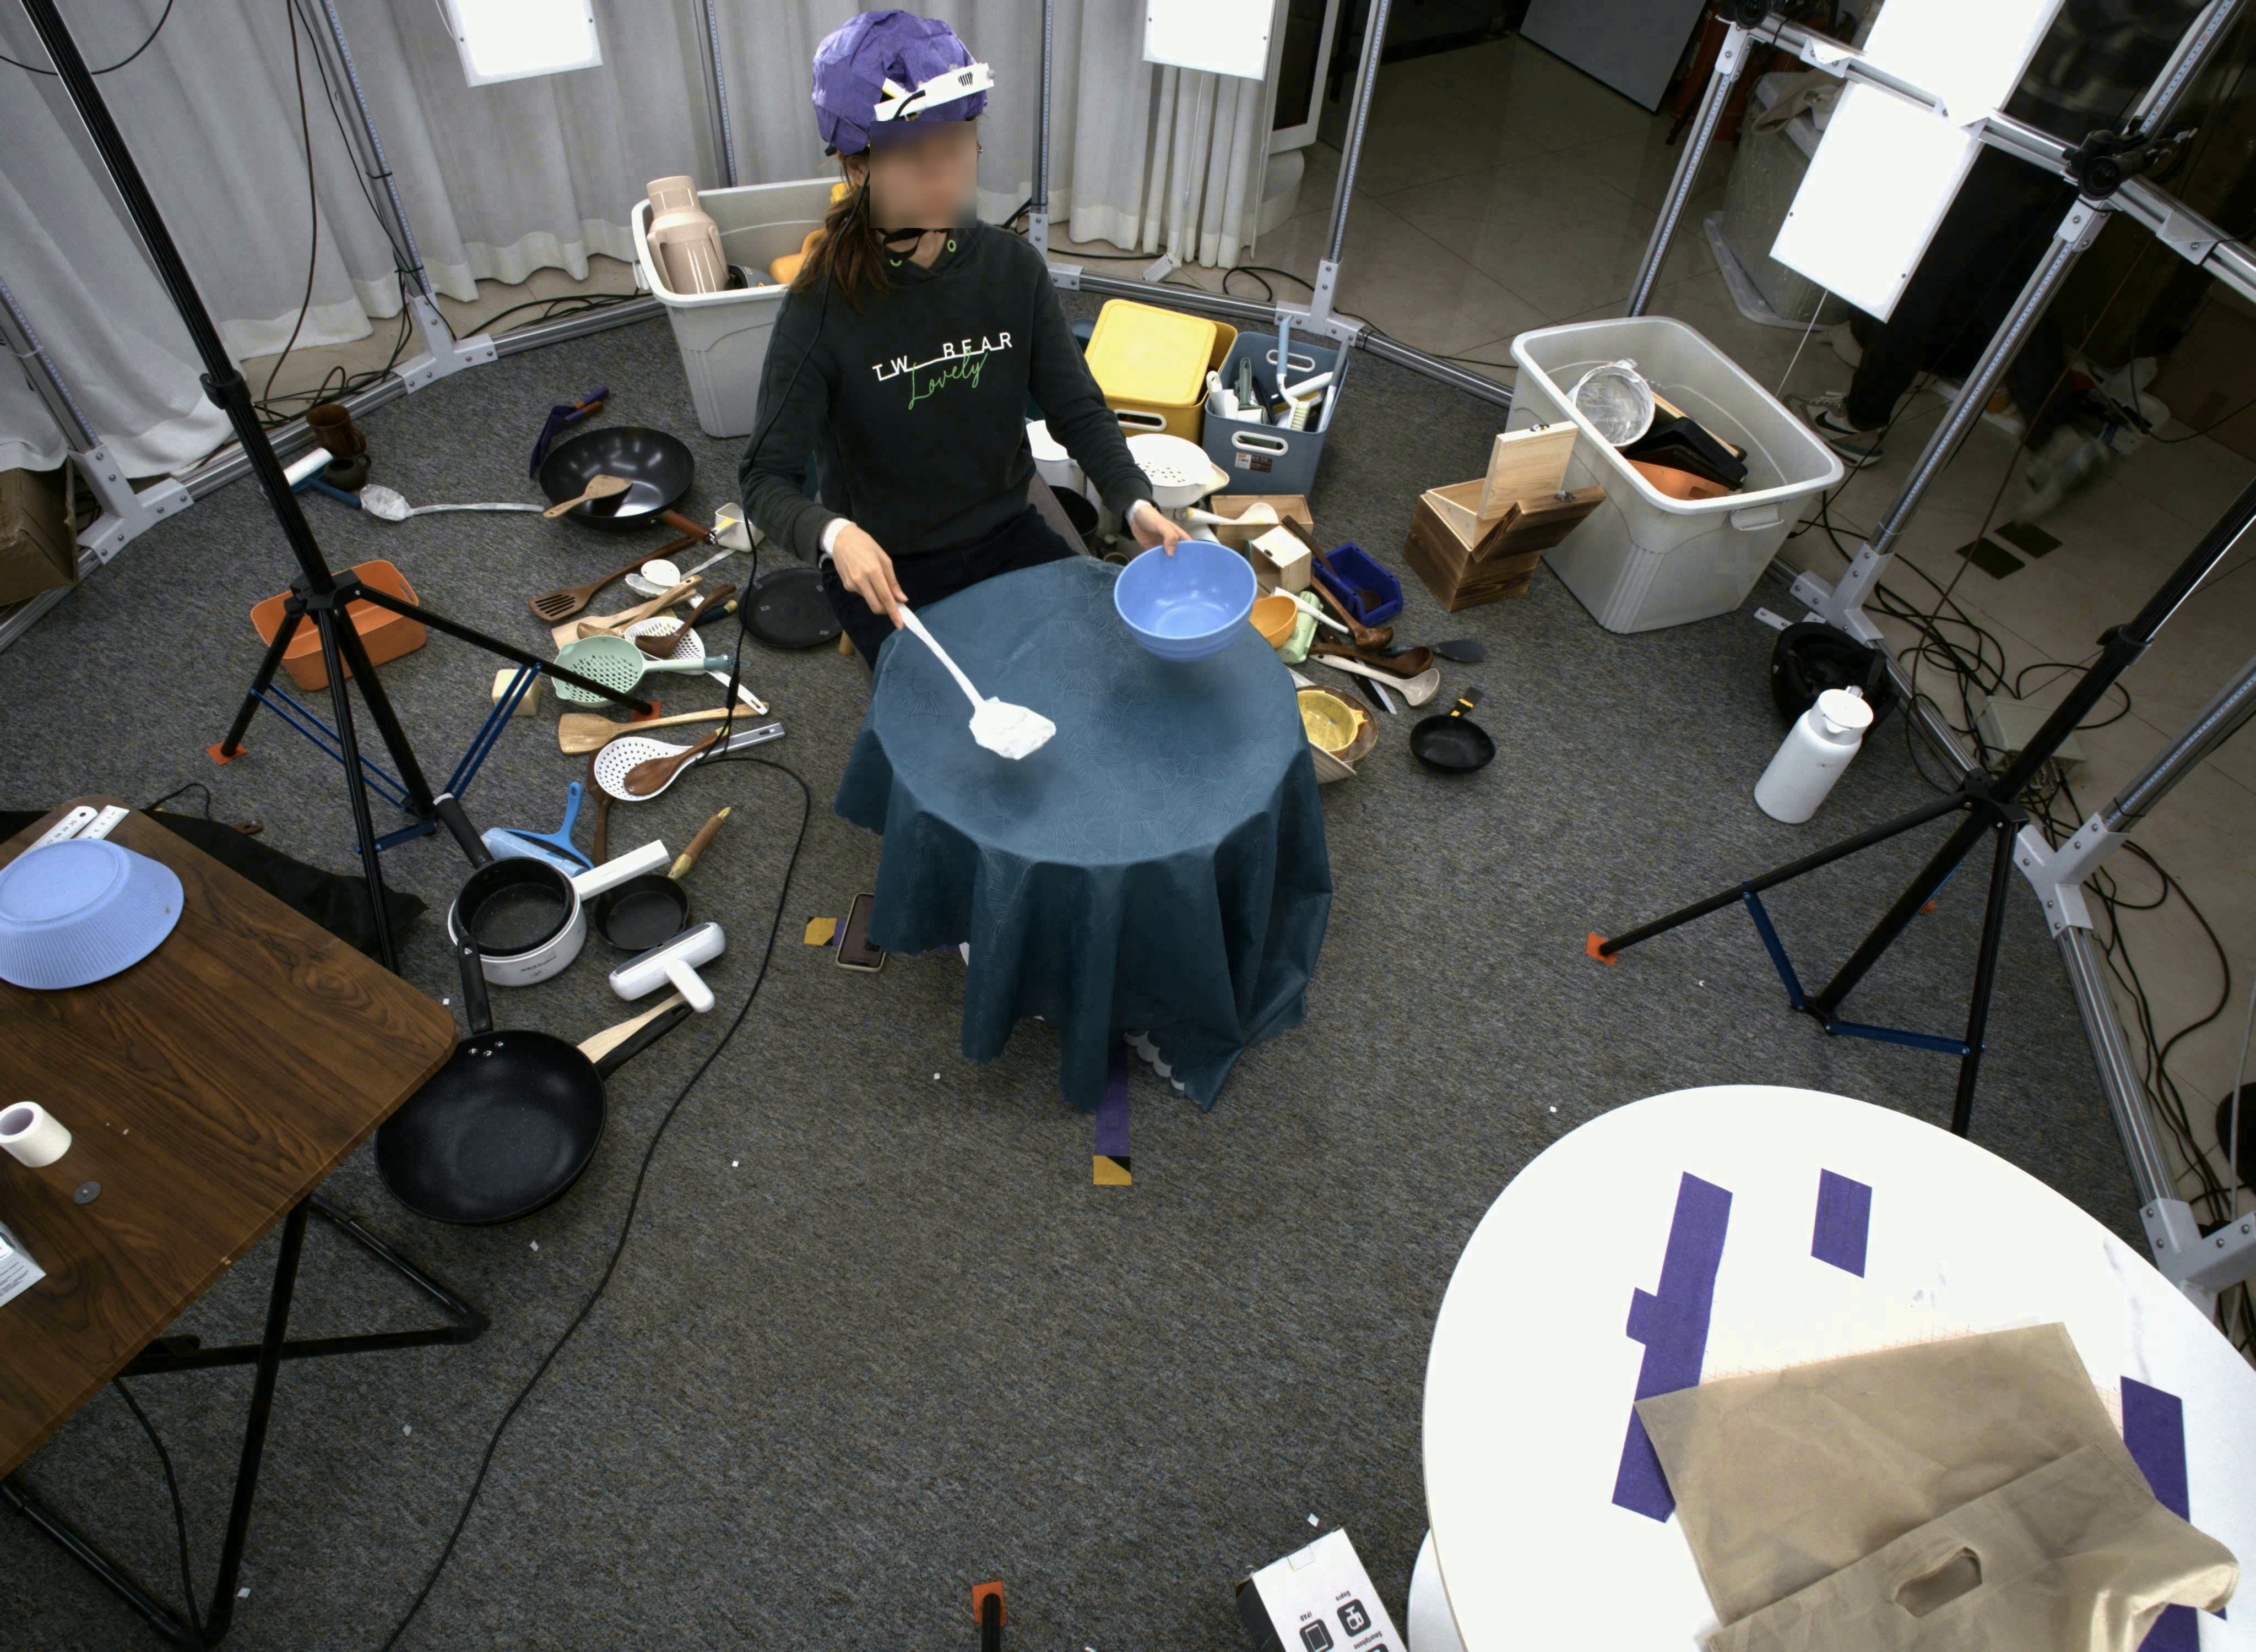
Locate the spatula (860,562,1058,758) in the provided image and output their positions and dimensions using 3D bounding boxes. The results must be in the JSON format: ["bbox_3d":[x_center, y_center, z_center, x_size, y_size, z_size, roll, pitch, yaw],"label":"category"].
[{"bbox_3d":[-0.239,-0.227,1.702,0.099,0.044,0.367,-34,79,-35],"label":"spatula"}]

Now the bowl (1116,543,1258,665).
[{"bbox_3d":[0.085,-0.296,1.803,0.196,0.093,0.201,-4,52,5],"label":"bowl"}]
